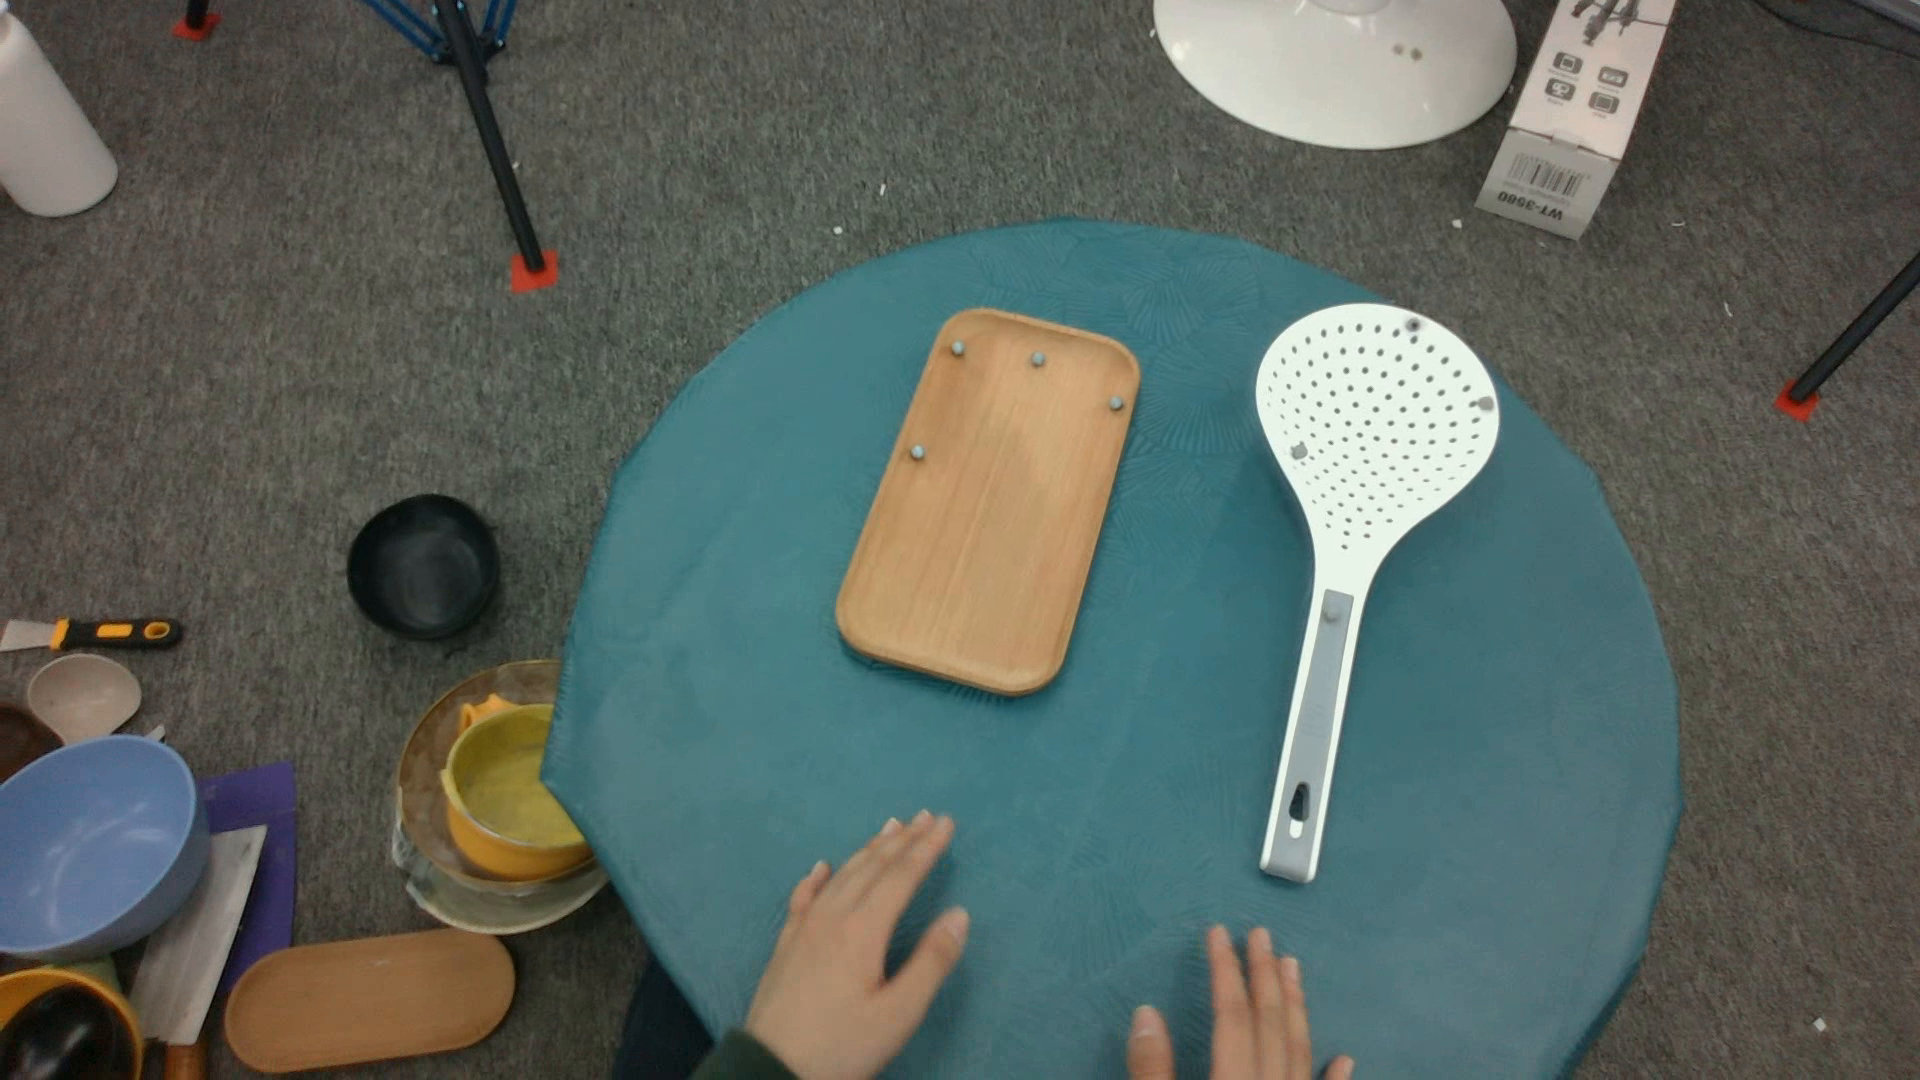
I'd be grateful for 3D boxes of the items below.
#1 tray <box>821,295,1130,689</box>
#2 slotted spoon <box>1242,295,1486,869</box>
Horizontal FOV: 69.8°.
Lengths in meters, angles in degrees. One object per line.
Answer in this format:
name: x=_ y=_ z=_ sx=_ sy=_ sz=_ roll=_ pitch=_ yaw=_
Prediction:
tray: x=0.014 y=-0.035 z=0.788 sx=0.130 sy=0.023 sz=0.252 roll=15 pitch=60 yaw=7
slotted spoon: x=0.204 y=0.010 z=0.755 sx=0.136 sy=0.045 sz=0.351 roll=15 pitch=60 yaw=8
